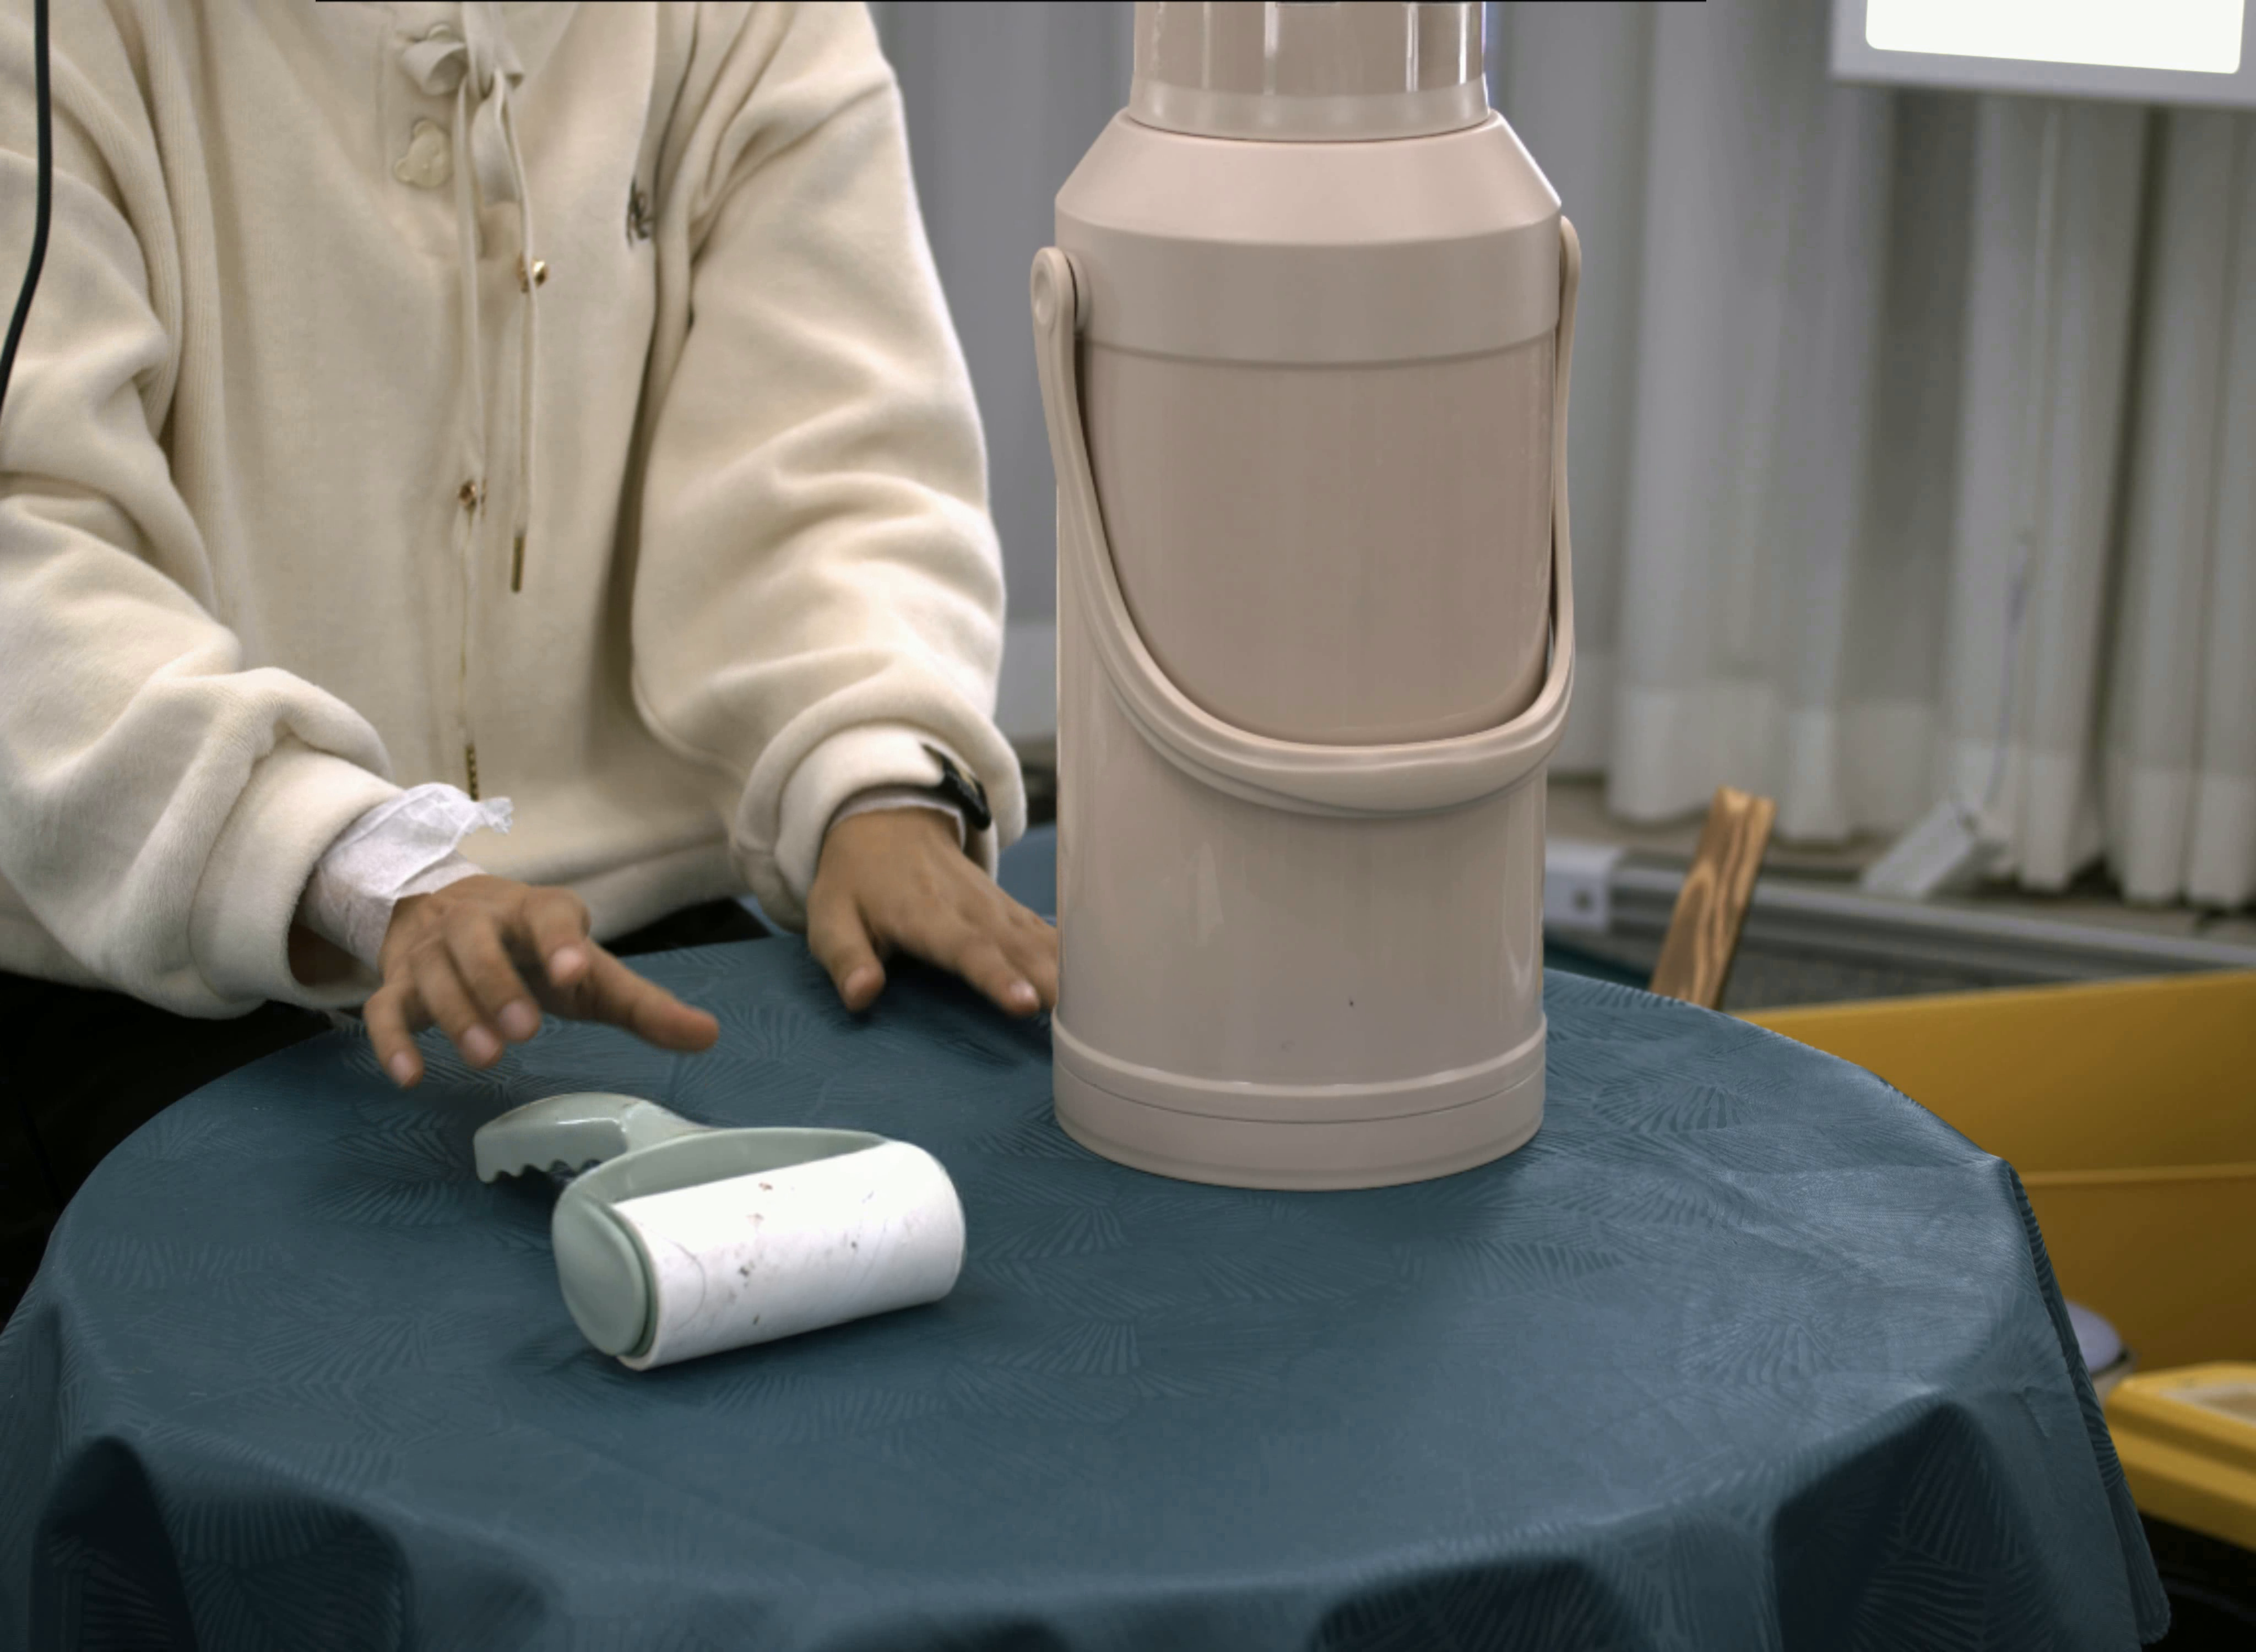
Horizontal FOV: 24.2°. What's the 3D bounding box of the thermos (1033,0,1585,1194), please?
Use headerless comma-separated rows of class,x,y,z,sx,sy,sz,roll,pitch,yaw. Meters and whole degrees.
thermos,0.052,-0.102,1.652,0.176,0.410,0.204,-7,17,-21

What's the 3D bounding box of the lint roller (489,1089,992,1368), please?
lint roller,-0.135,0.104,1.558,0.117,0.049,0.195,-12,21,-32
